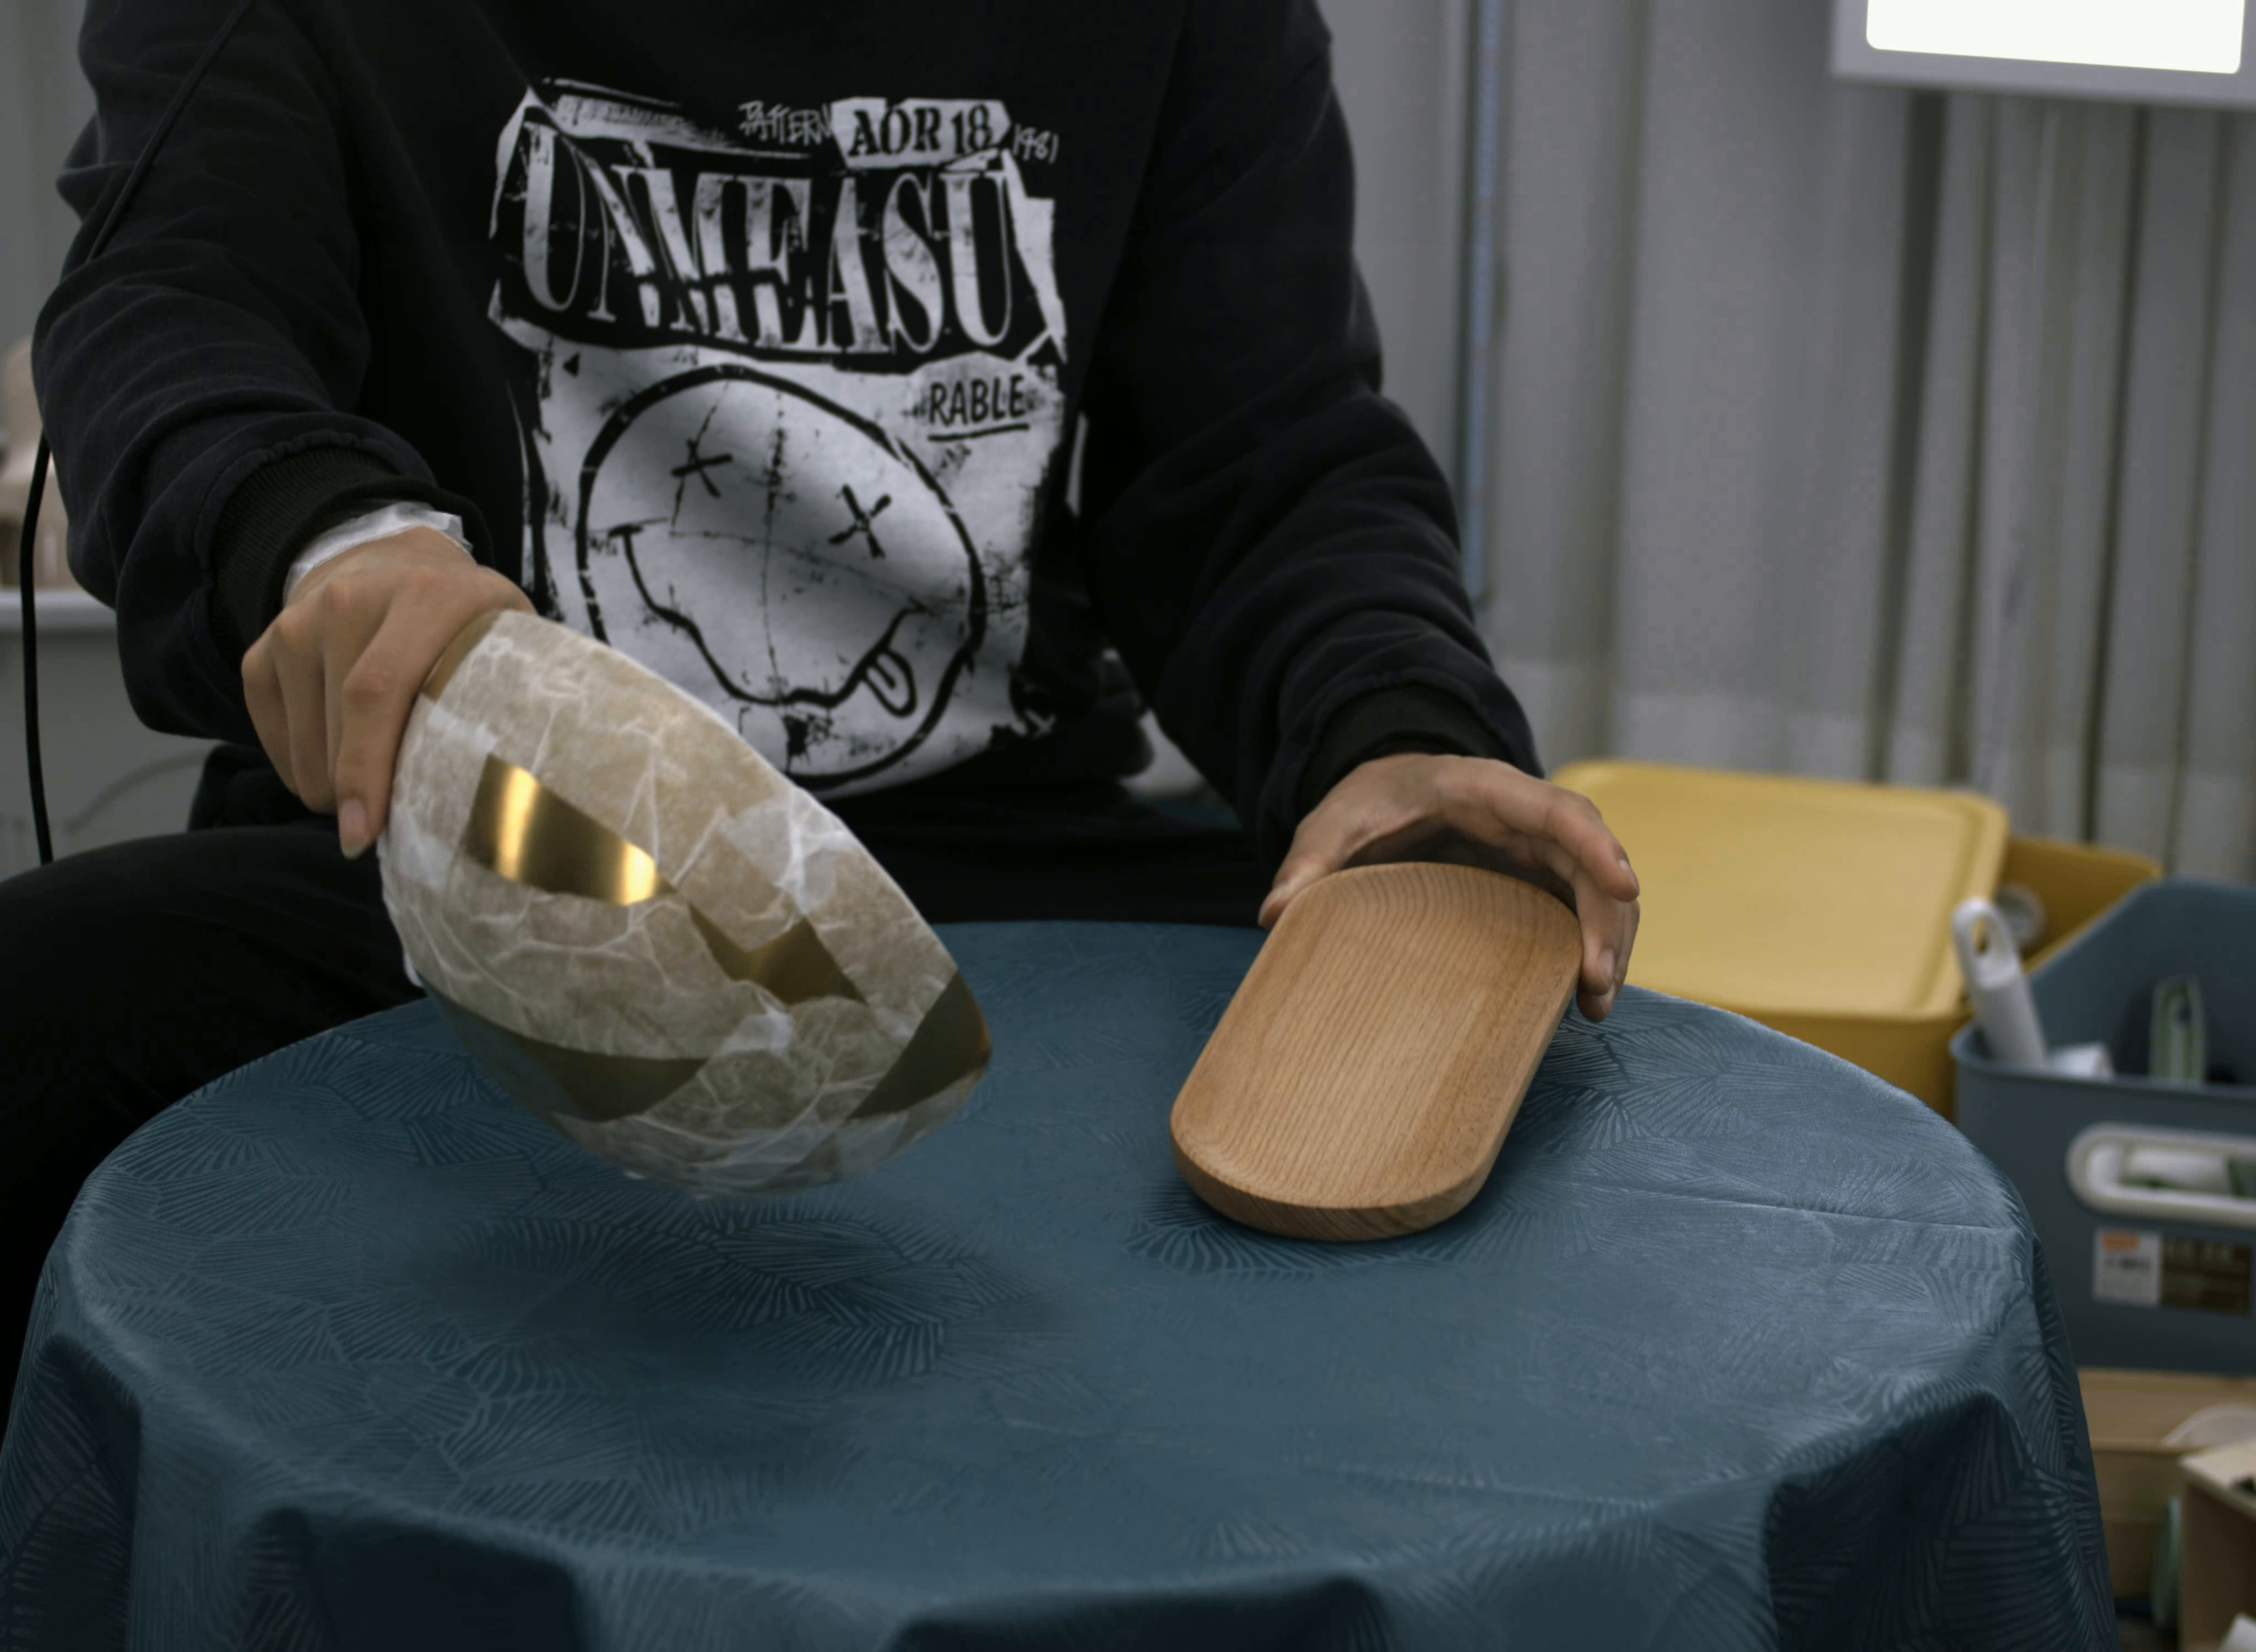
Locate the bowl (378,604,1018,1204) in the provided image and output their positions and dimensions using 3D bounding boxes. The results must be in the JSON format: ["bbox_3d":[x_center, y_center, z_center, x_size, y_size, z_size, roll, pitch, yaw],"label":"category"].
[{"bbox_3d":[-0.142,0.042,1.506,0.212,0.218,0.094,19,61,47],"label":"bowl"}]

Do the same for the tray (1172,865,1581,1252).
[{"bbox_3d":[0.081,0.071,1.675,0.101,0.020,0.230,7,30,13],"label":"tray"}]
